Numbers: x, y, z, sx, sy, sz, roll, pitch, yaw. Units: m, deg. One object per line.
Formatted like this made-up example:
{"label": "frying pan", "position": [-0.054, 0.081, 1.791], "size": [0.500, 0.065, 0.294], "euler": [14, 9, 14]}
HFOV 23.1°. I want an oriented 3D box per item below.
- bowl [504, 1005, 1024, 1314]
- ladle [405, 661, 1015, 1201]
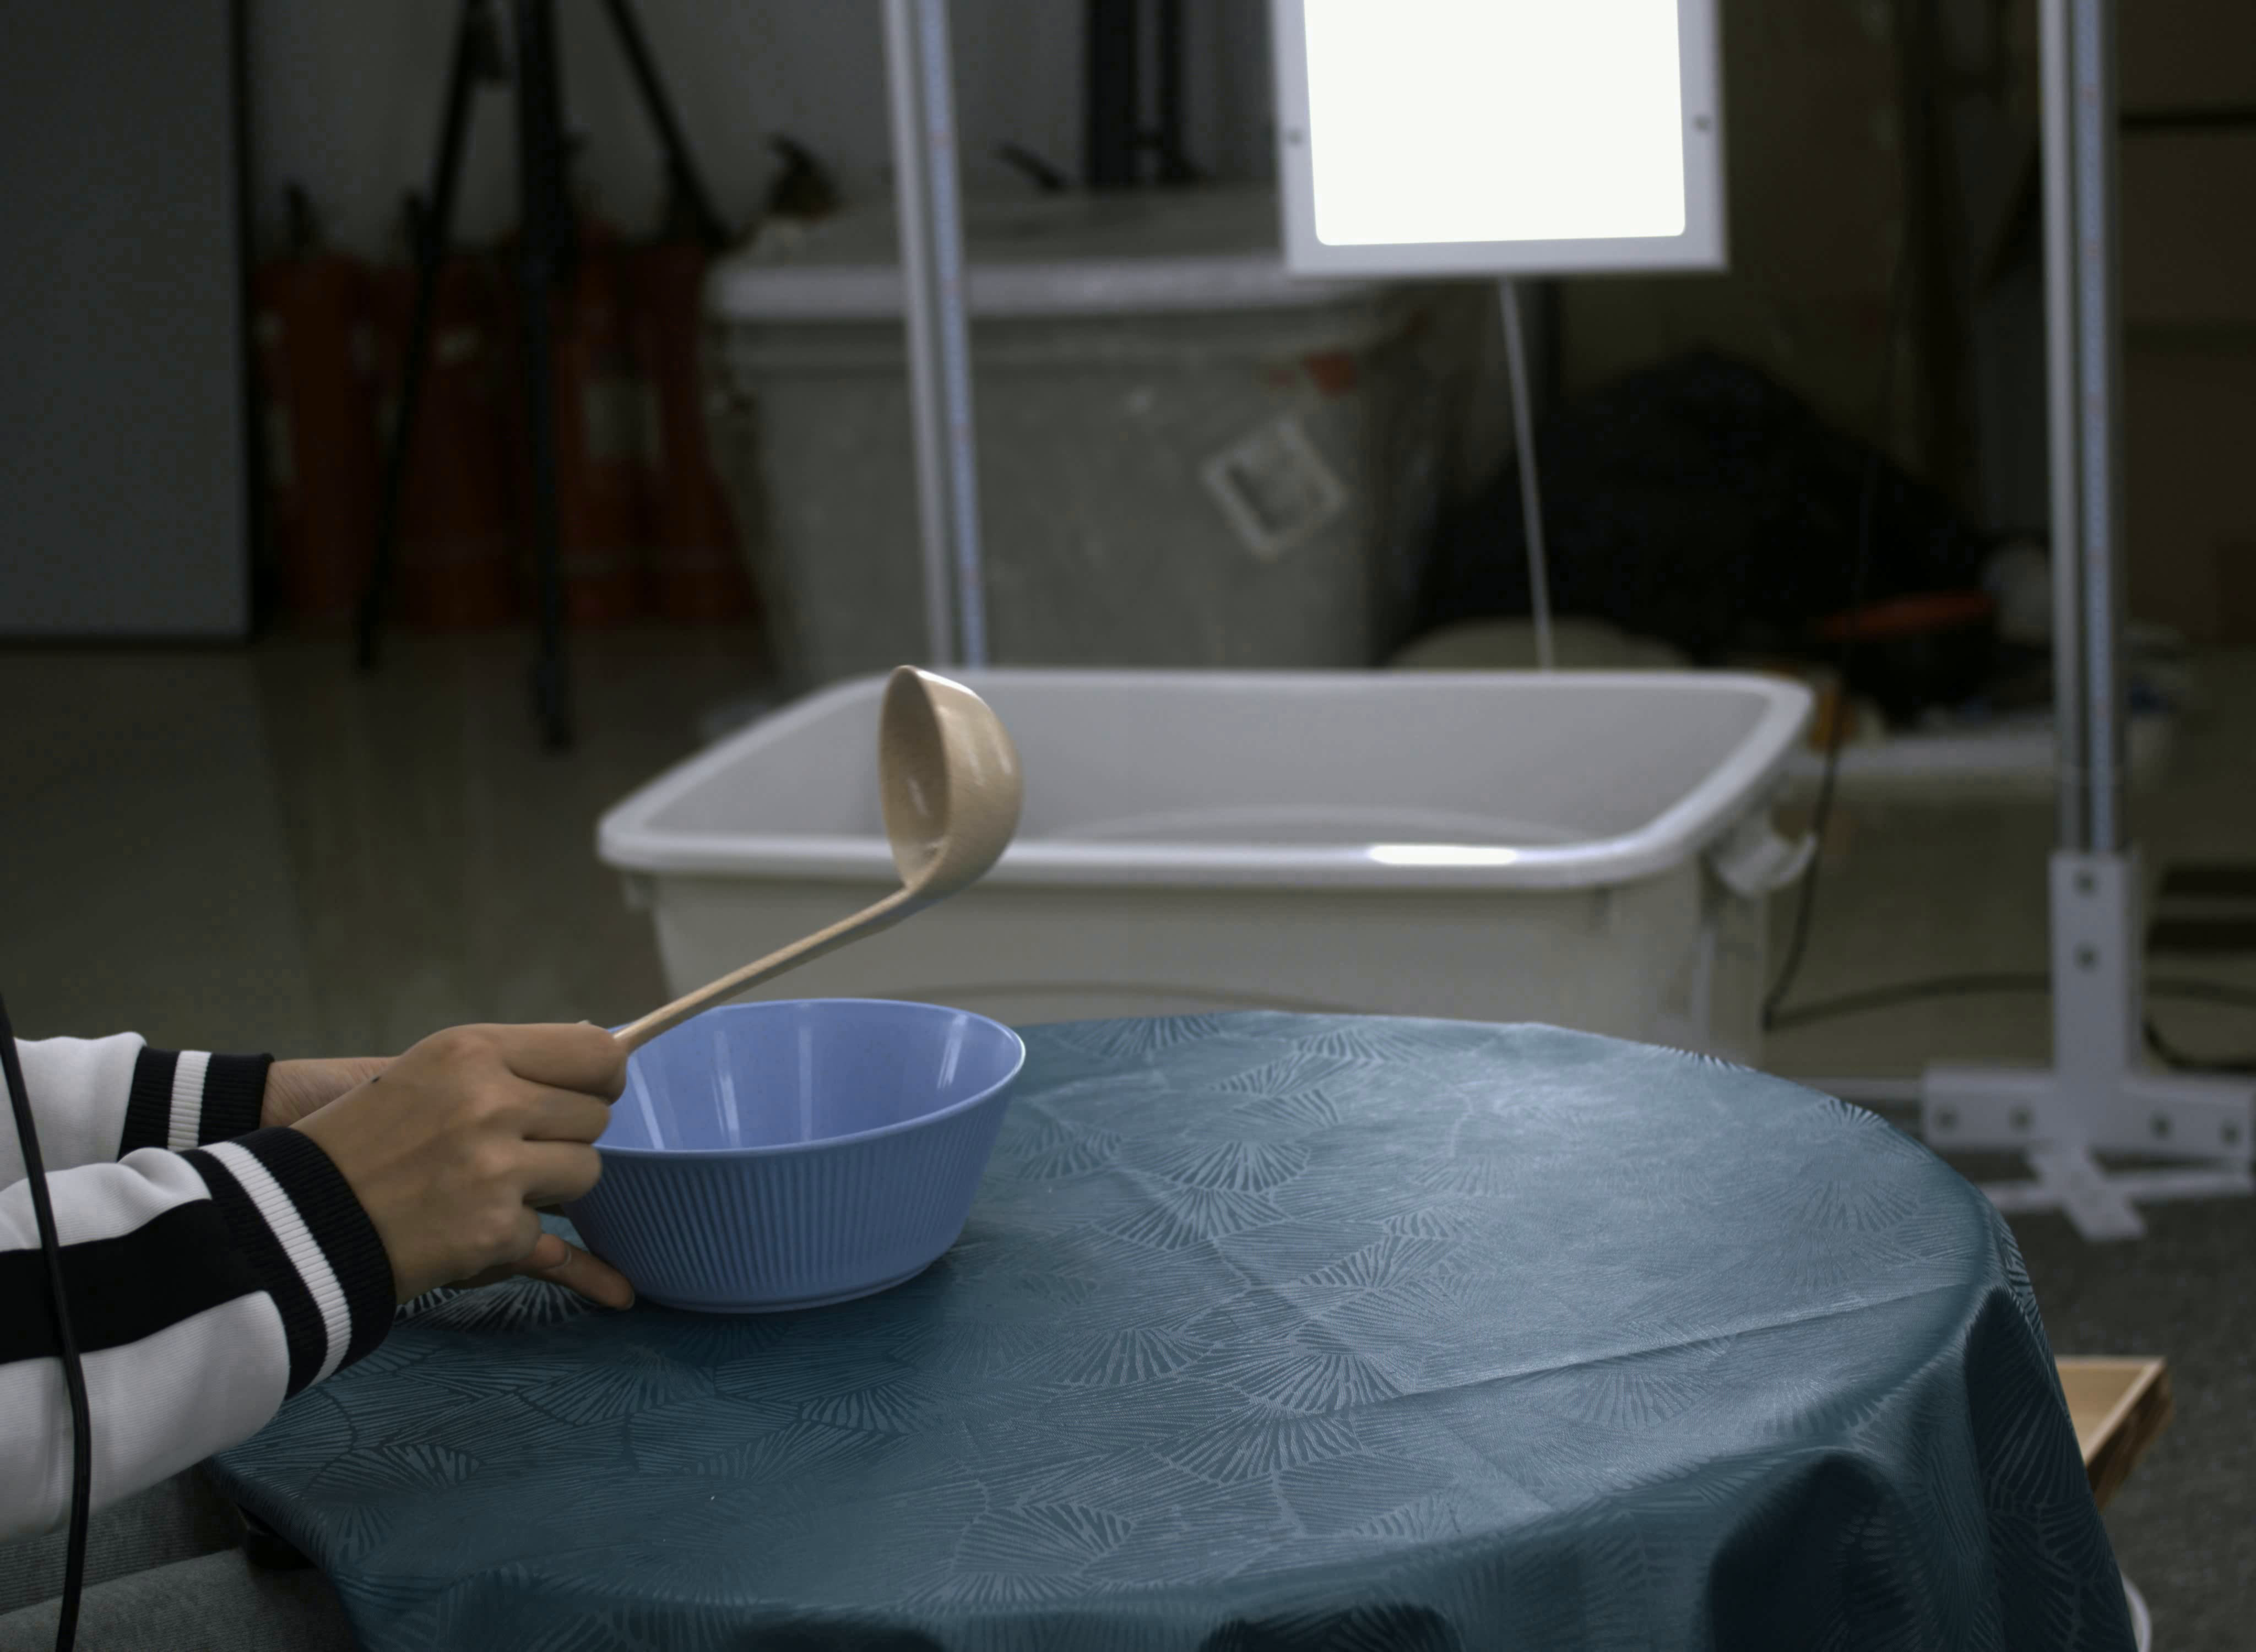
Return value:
{"label": "bowl", "position": [-0.119, 0.114, 1.846], "size": [0.175, 0.070, 0.176], "euler": [-5, 13, 0]}
{"label": "ladle", "position": [-0.141, 0.028, 1.701], "size": [0.249, 0.073, 0.073], "euler": [-30, -18, -30]}
